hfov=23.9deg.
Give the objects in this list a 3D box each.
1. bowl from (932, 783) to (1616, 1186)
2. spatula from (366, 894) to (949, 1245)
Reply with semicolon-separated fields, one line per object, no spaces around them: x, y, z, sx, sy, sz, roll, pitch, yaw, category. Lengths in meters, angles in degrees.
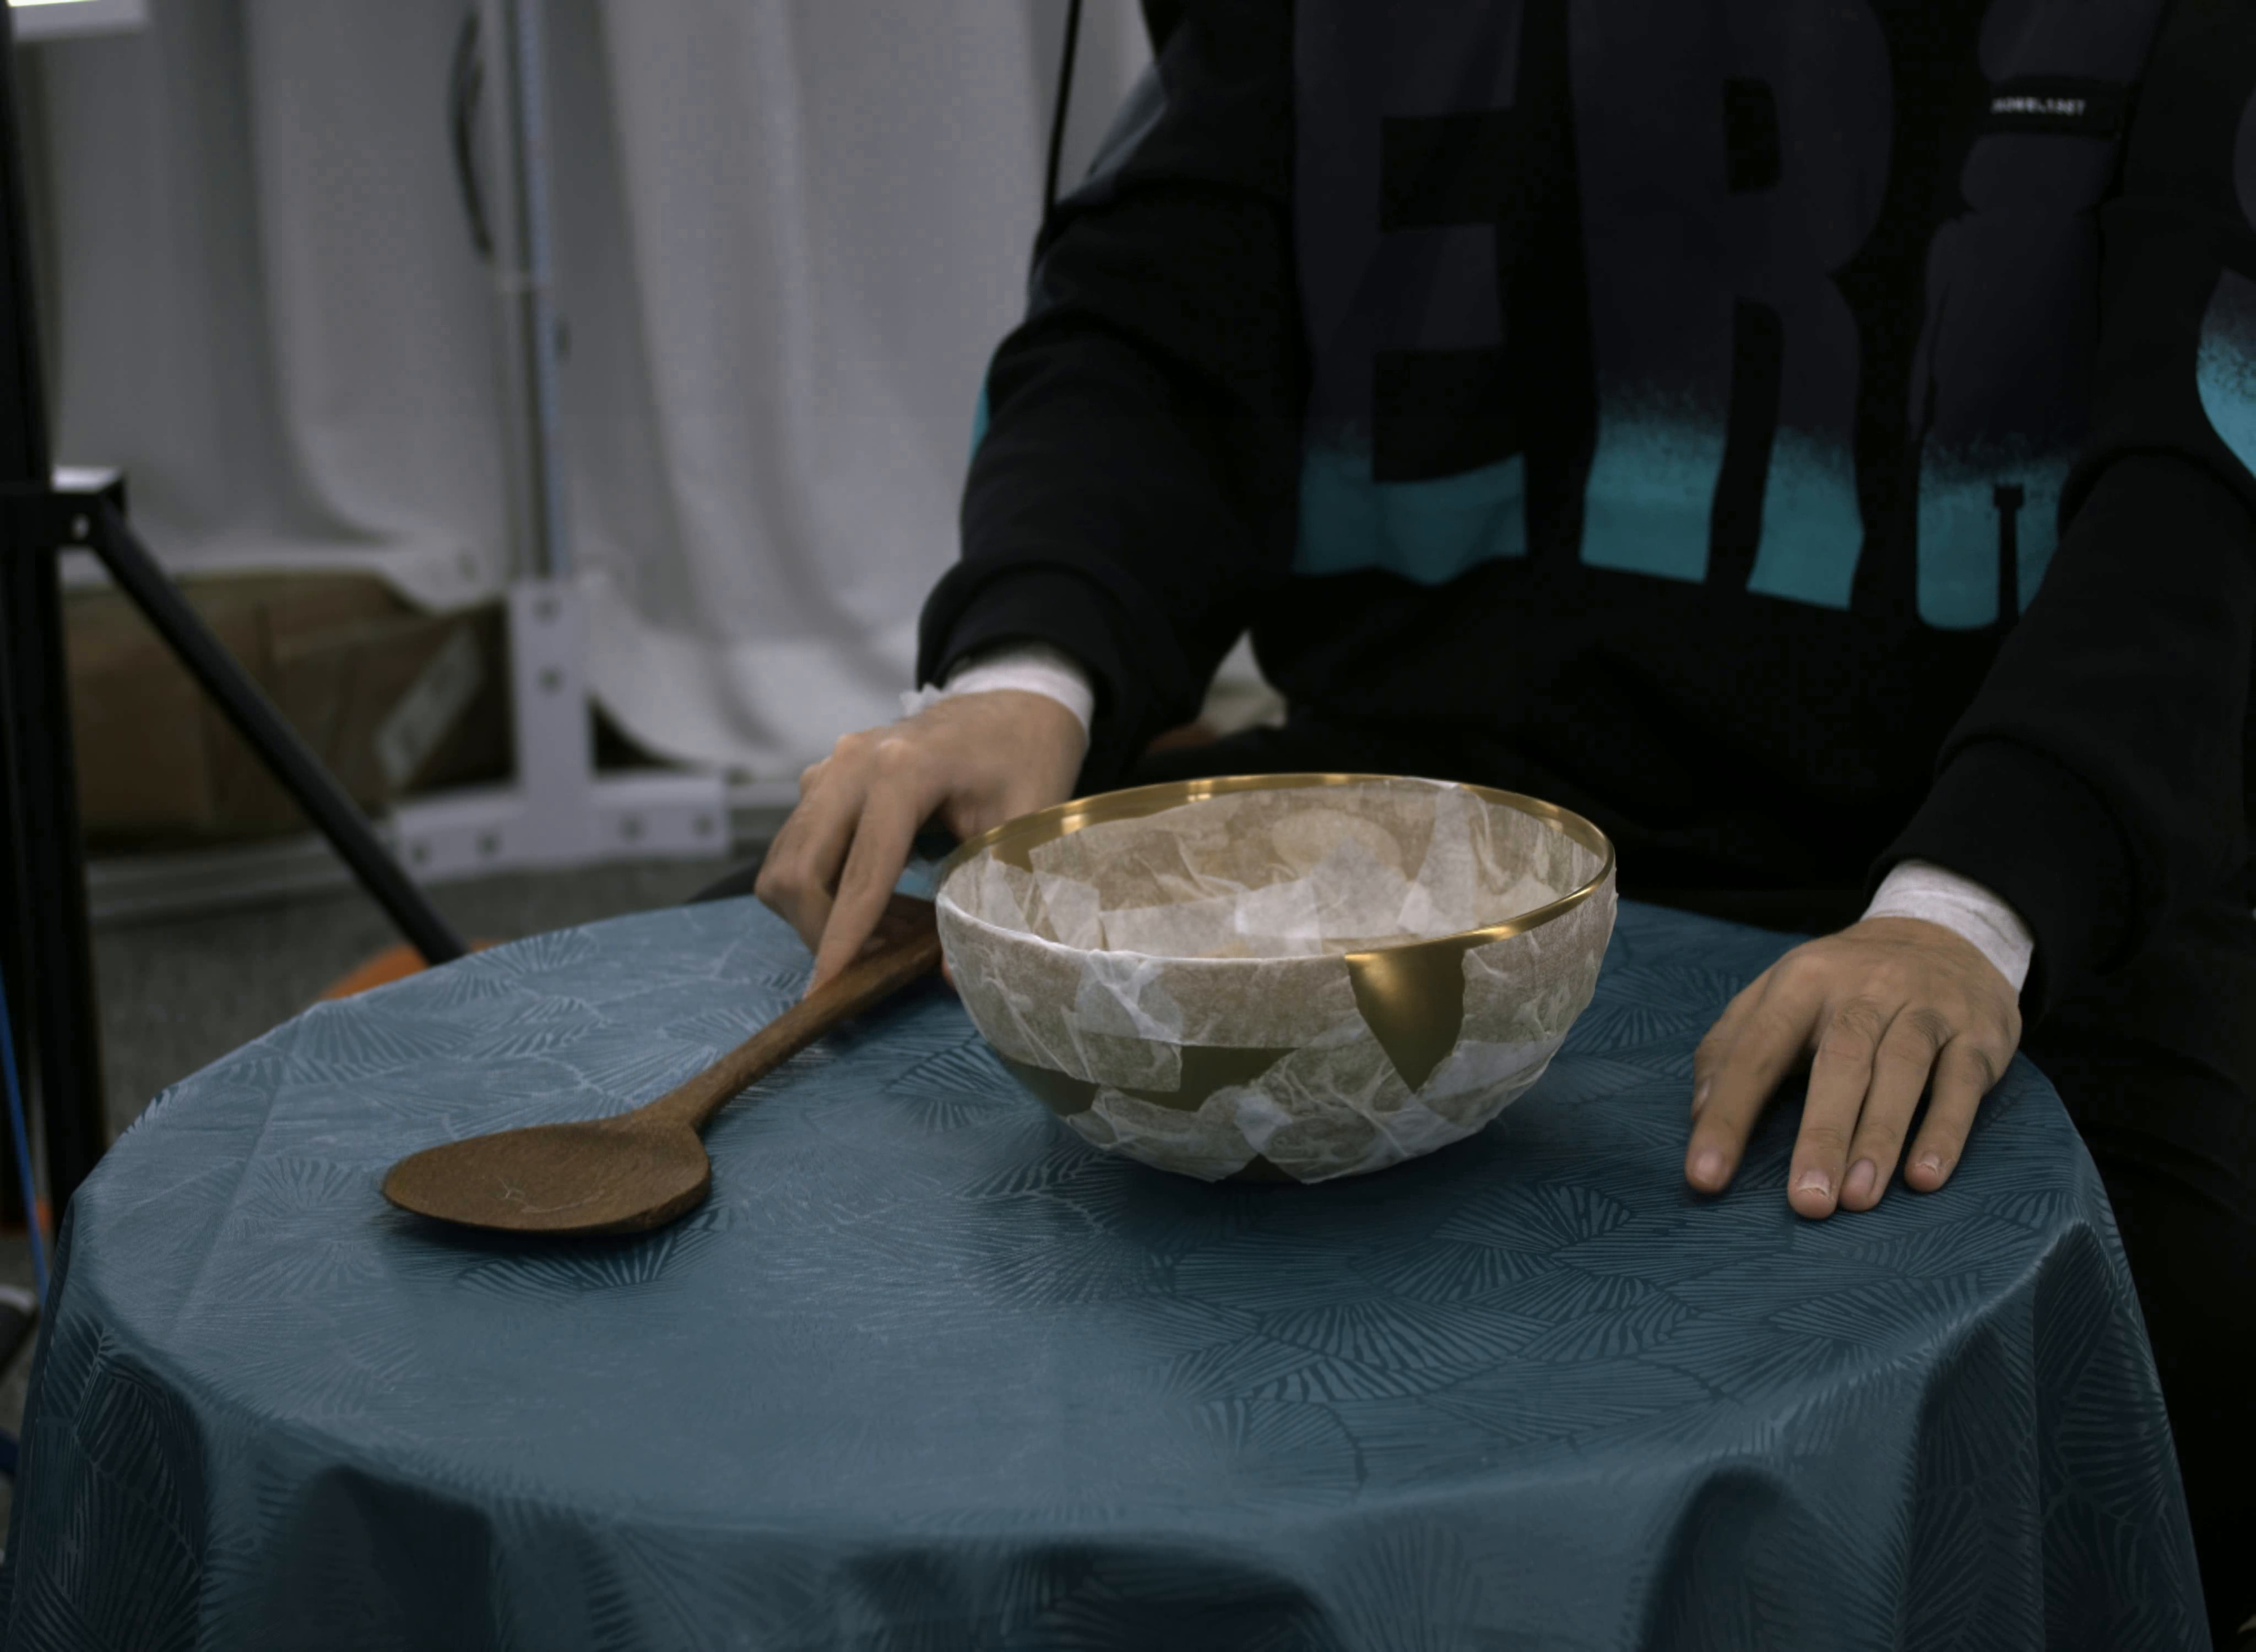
0.048;0.053;1.576;0.213;0.094;0.215;-3;13;-1;bowl
-0.103;0.063;1.694;0.098;0.016;0.380;6;20;27;spatula
